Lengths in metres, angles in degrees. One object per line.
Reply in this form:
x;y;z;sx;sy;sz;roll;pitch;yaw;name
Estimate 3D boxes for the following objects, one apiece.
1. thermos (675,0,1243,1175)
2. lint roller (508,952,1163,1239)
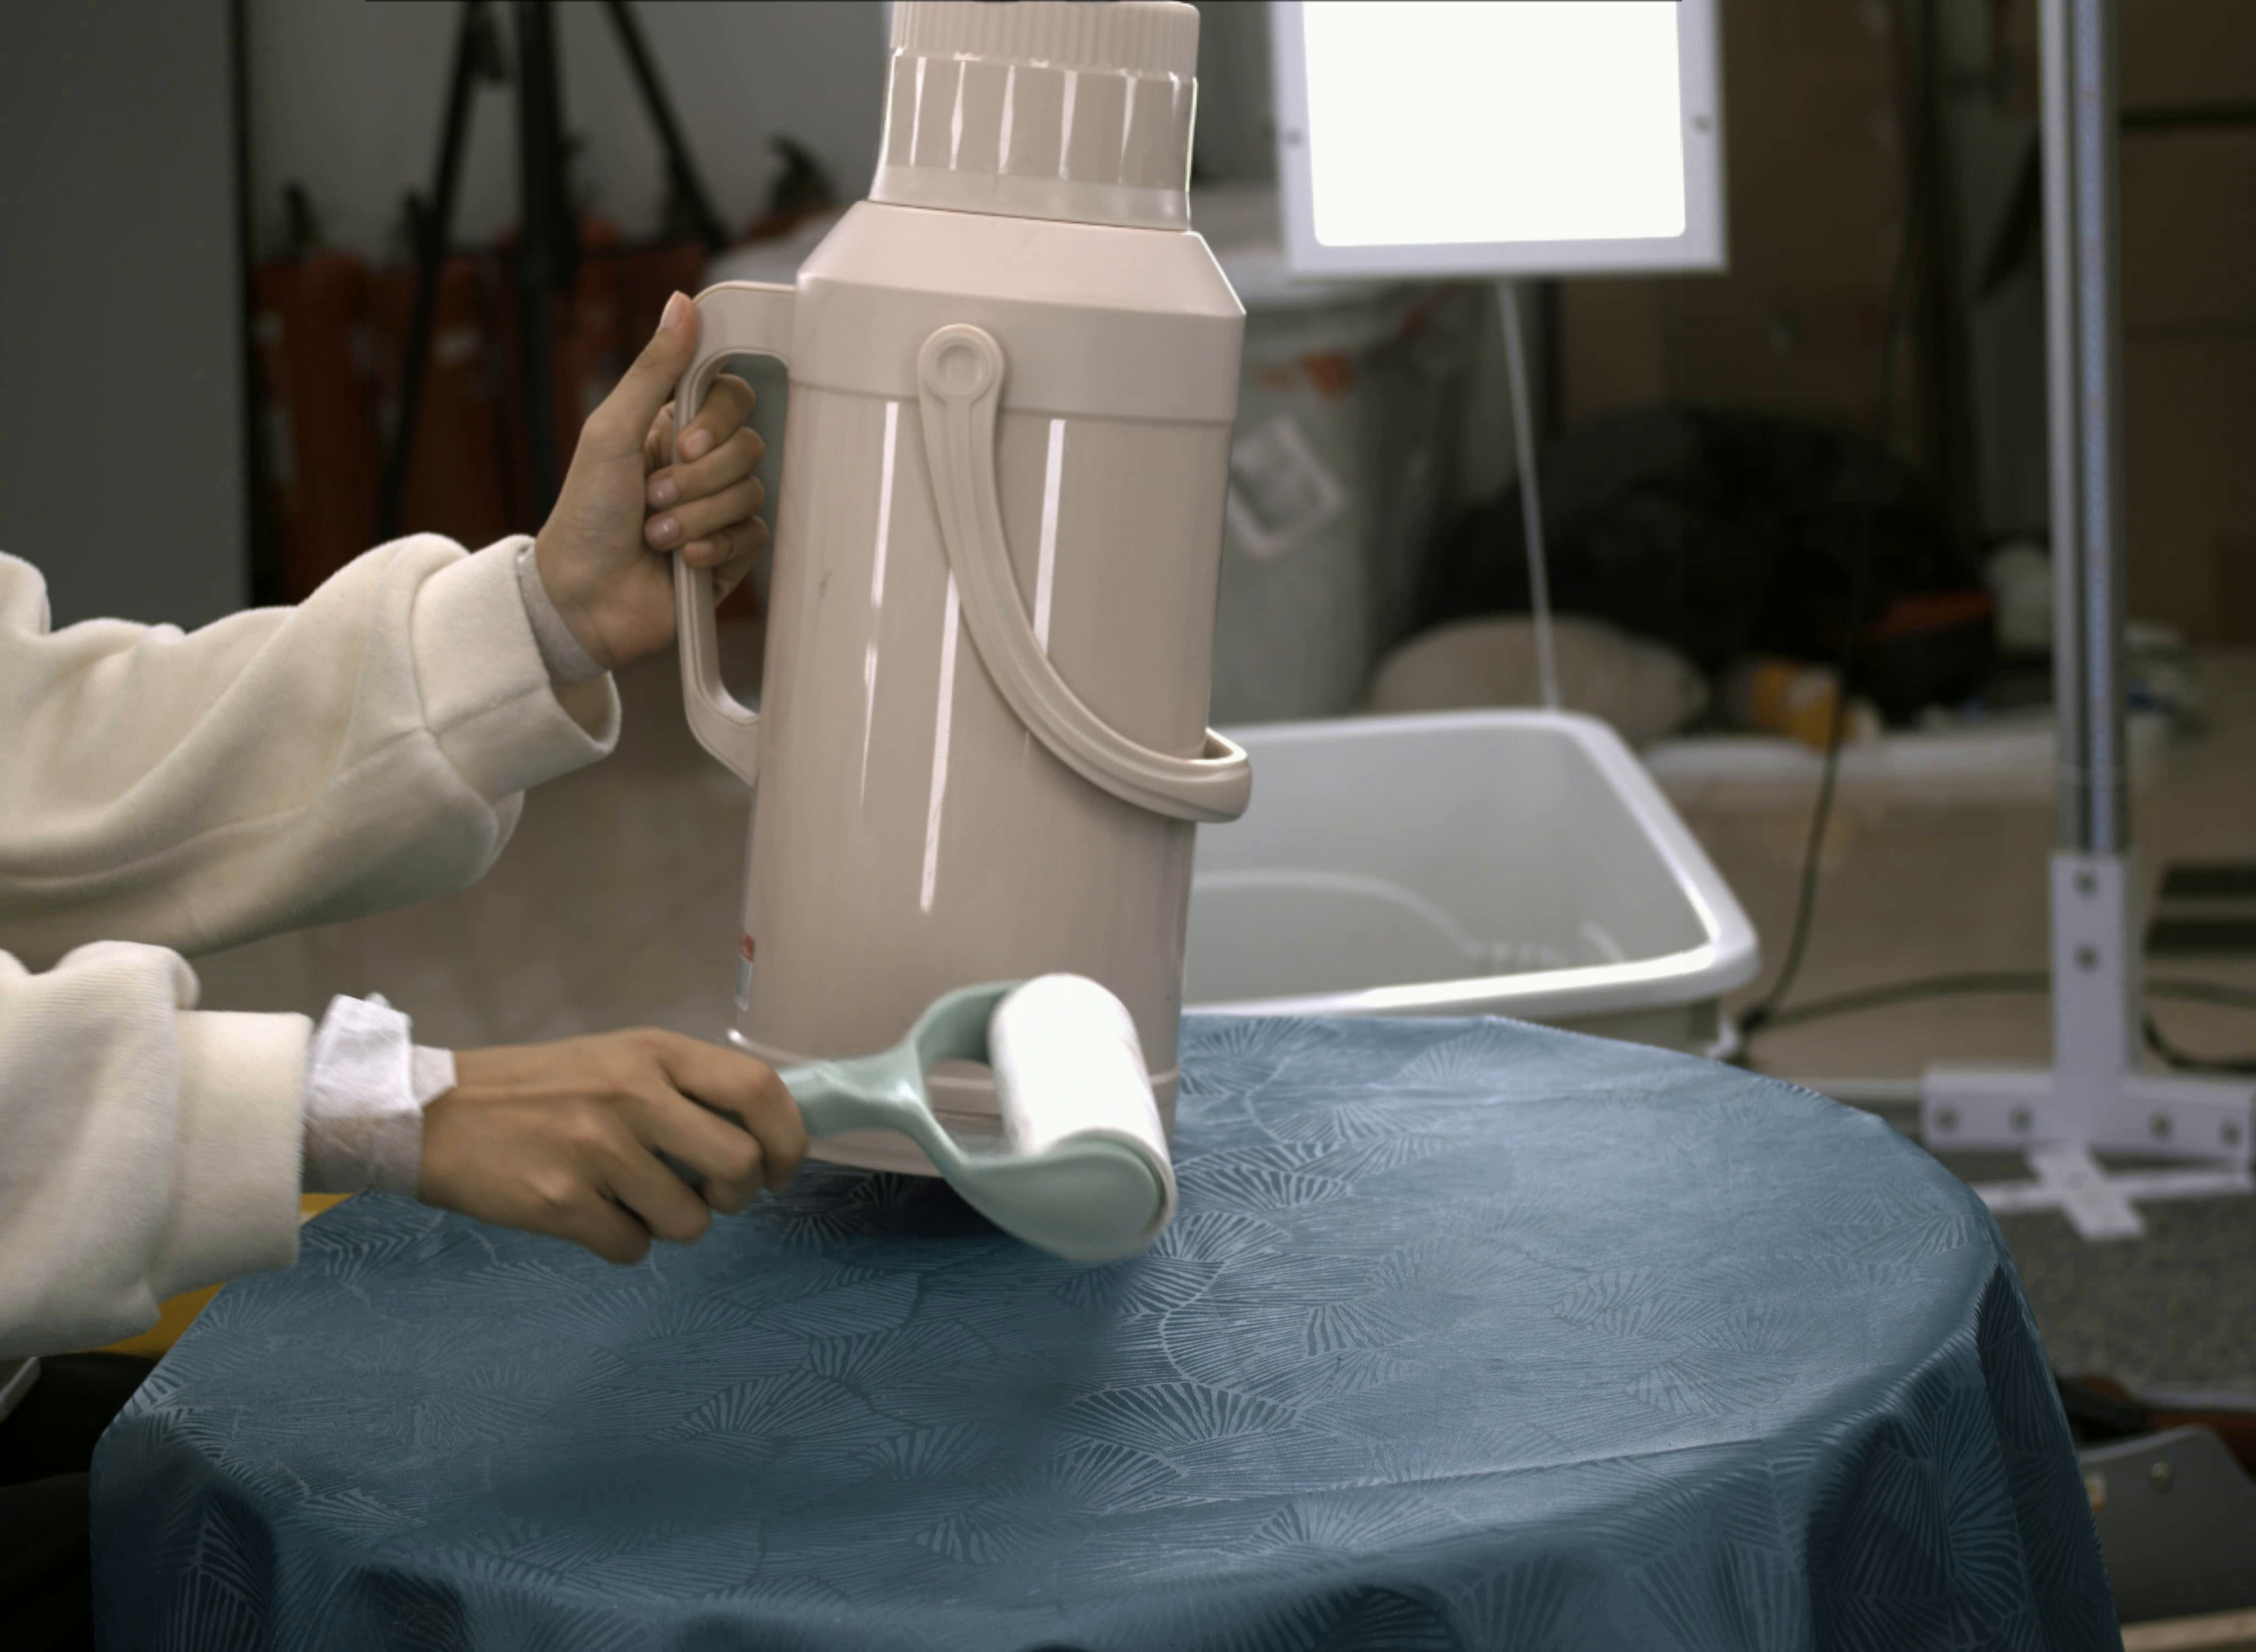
-0.059;-0.088;1.904;0.208;0.408;0.173;6;8;12;thermos
-0.092;0.088;1.692;0.196;0.049;0.116;-4;28;-4;lint roller
